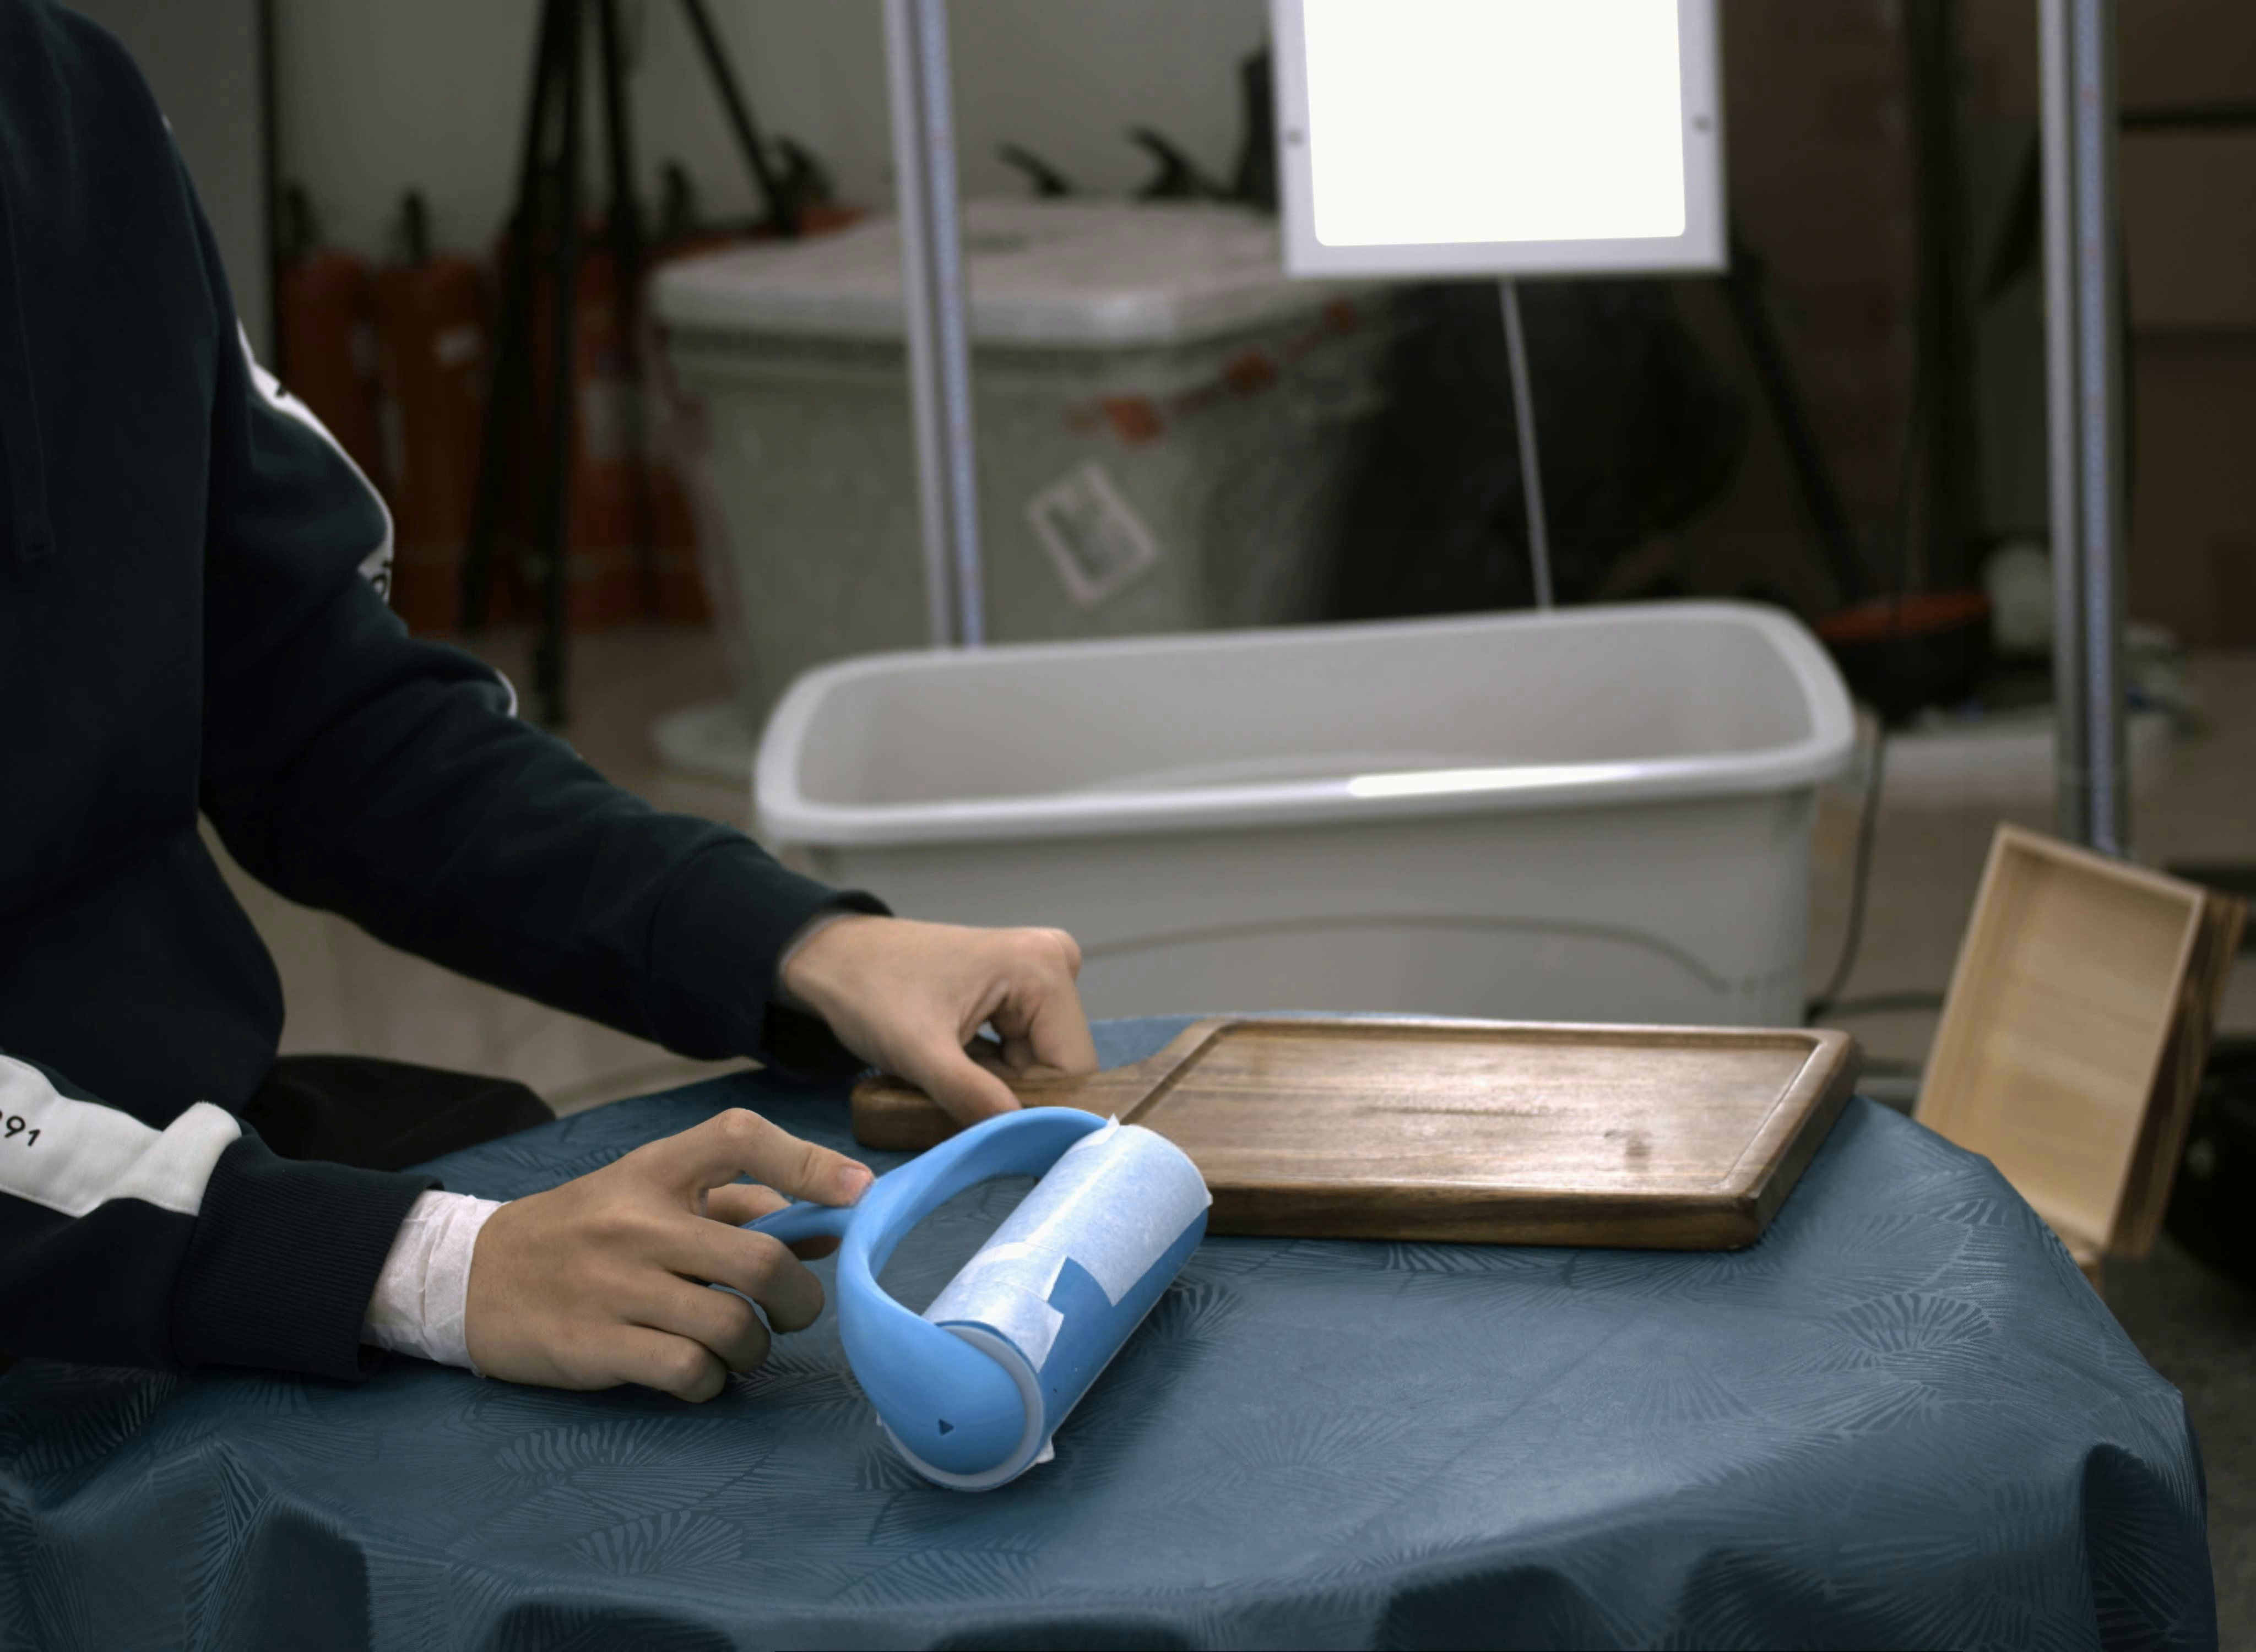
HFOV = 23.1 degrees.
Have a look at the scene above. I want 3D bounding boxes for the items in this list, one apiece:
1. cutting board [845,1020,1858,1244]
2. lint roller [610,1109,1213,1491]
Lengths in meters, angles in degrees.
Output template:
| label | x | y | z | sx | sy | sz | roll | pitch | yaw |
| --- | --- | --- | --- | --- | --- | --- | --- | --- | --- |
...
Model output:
| label | x | y | z | sx | sy | sz | roll | pitch | yaw |
| --- | --- | --- | --- | --- | --- | --- | --- | --- | --- |
| cutting board | 0.068 | 0.103 | 1.918 | 0.357 | 0.023 | 0.197 | 0 | 14 | 20 |
| lint roller | -0.079 | 0.146 | 1.724 | 0.182 | 0.068 | 0.226 | -1 | 16 | 14 |
